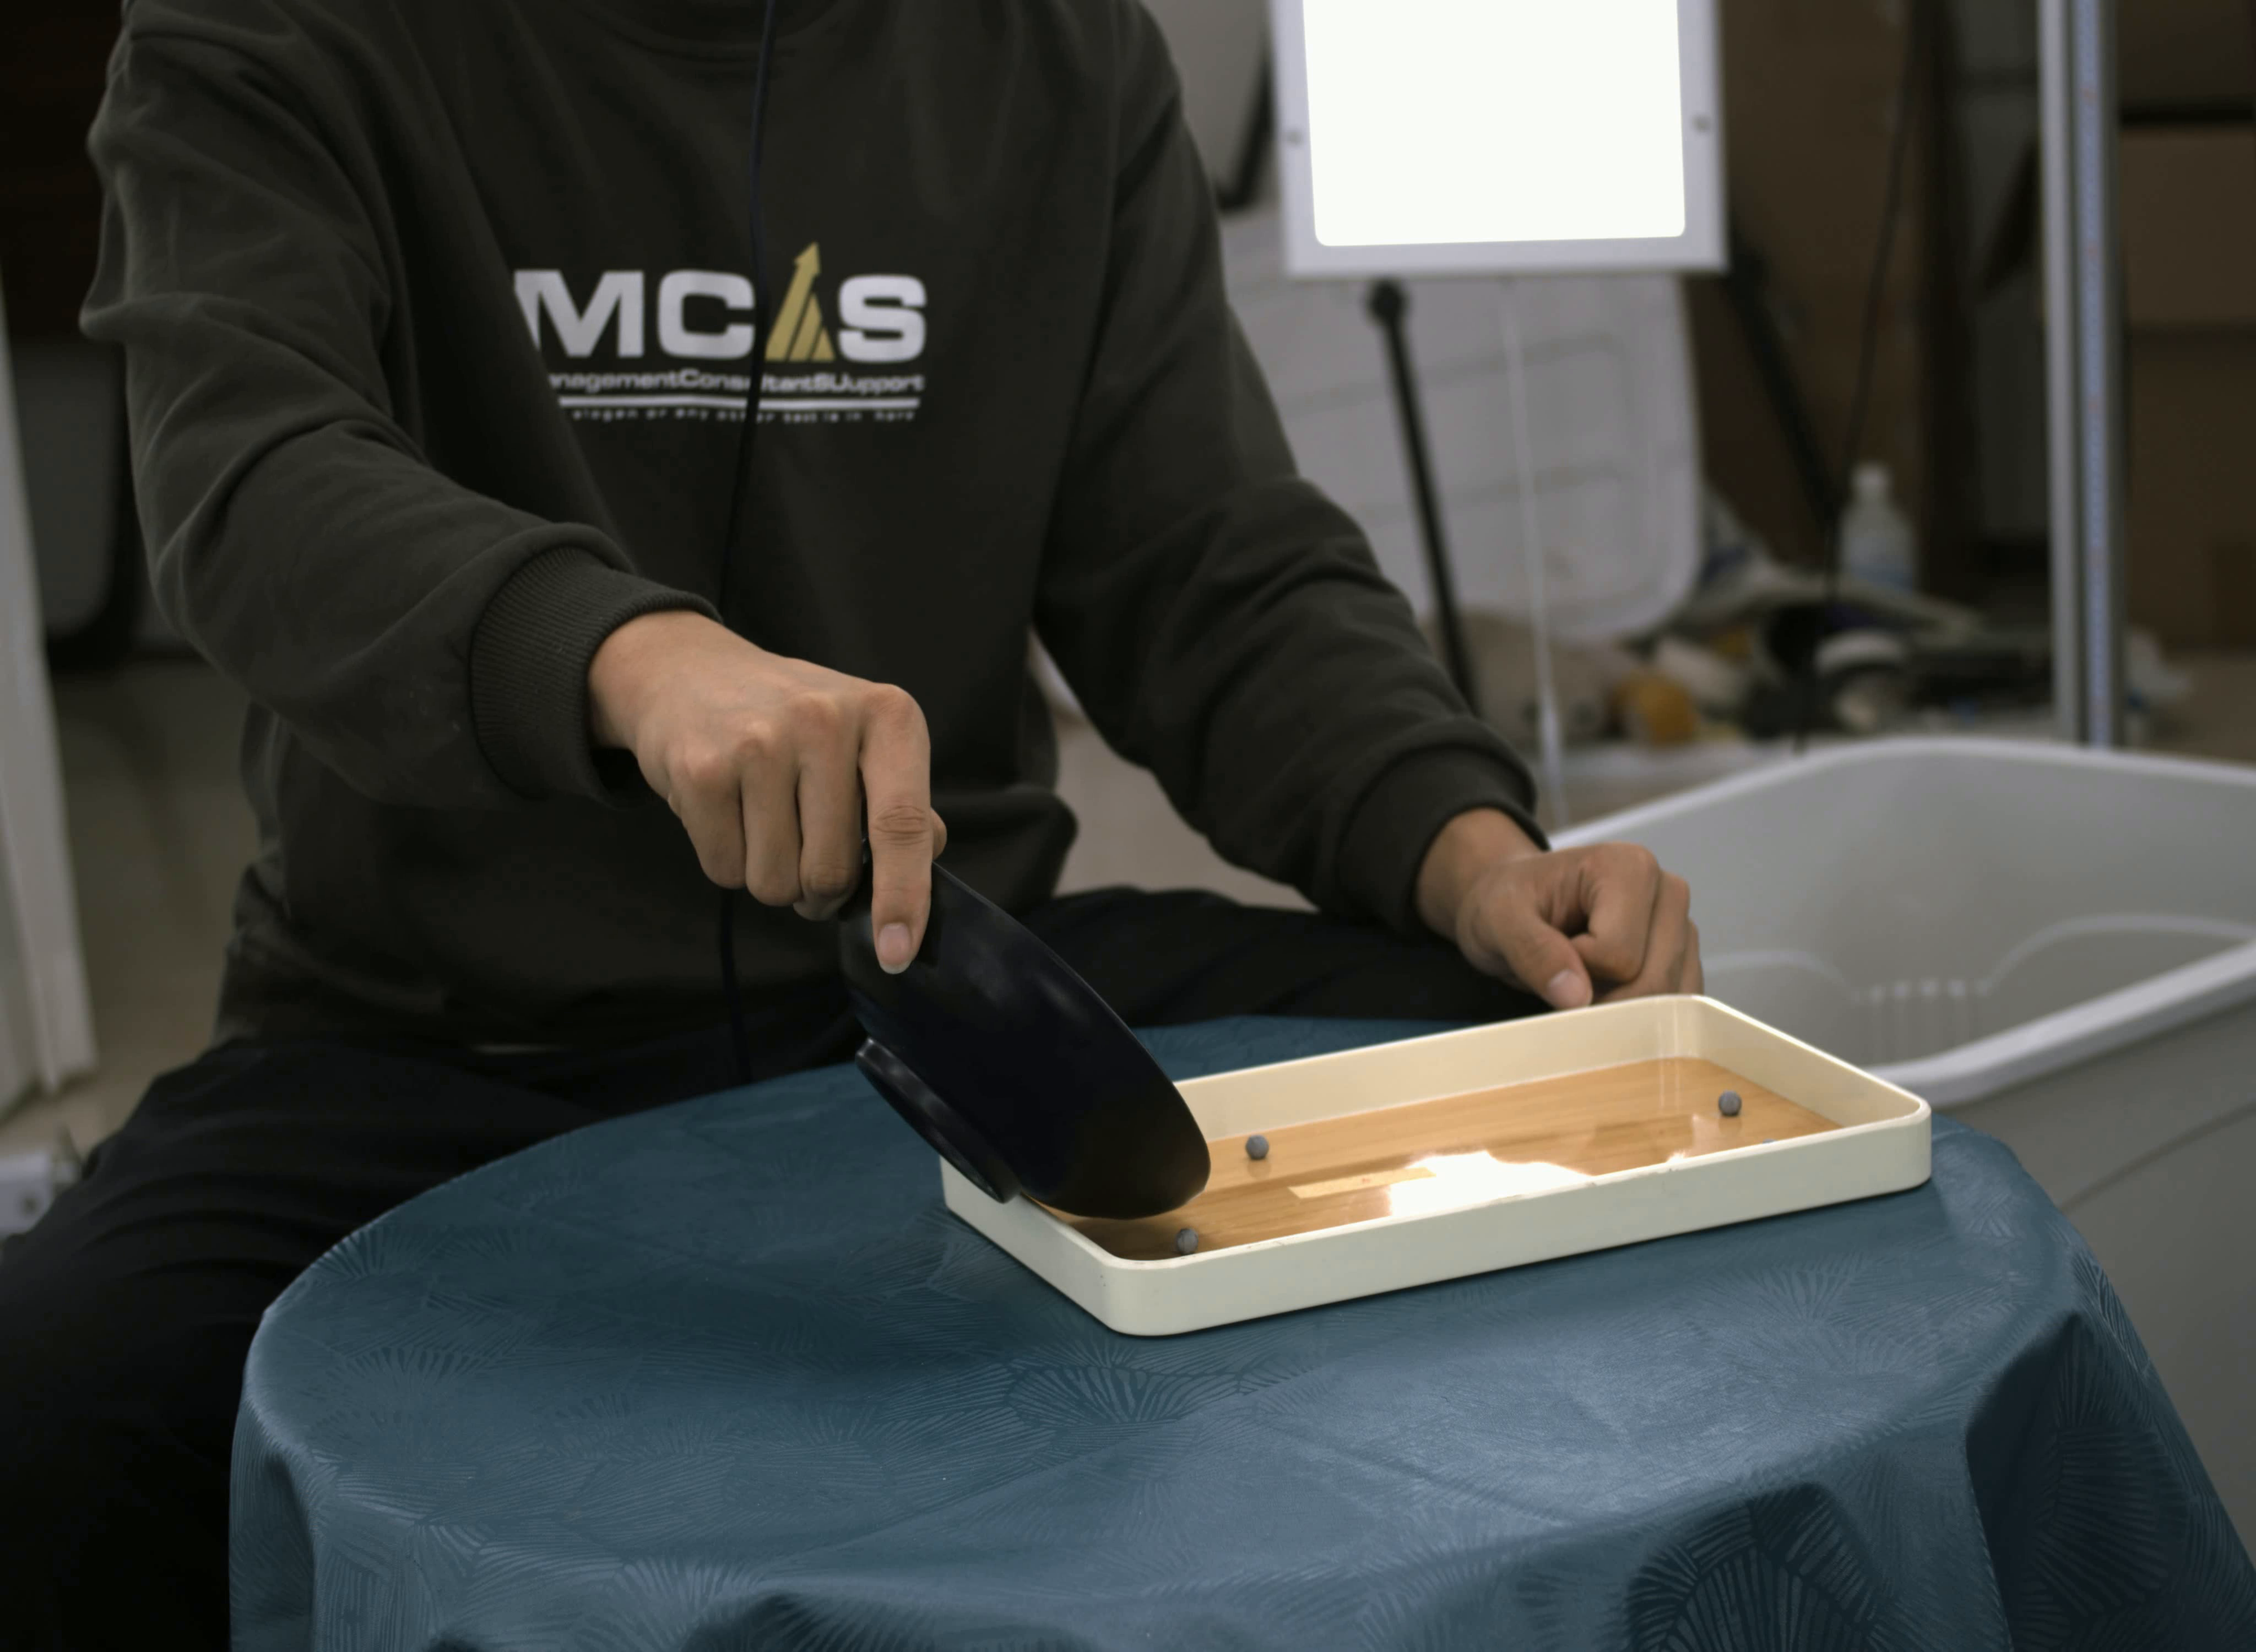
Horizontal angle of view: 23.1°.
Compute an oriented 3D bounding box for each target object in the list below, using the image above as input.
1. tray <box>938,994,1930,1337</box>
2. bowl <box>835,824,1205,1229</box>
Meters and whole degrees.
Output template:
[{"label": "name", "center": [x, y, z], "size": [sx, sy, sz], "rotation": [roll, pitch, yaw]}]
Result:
[{"label": "tray", "center": [0.103, 0.112, 1.866], "size": [0.295, 0.027, 0.194], "rotation": [-10, 14, -18]}, {"label": "bowl", "center": [-0.046, 0.077, 1.803], "size": [0.066, 0.168, 0.139], "rotation": [-43, 28, -7]}]
